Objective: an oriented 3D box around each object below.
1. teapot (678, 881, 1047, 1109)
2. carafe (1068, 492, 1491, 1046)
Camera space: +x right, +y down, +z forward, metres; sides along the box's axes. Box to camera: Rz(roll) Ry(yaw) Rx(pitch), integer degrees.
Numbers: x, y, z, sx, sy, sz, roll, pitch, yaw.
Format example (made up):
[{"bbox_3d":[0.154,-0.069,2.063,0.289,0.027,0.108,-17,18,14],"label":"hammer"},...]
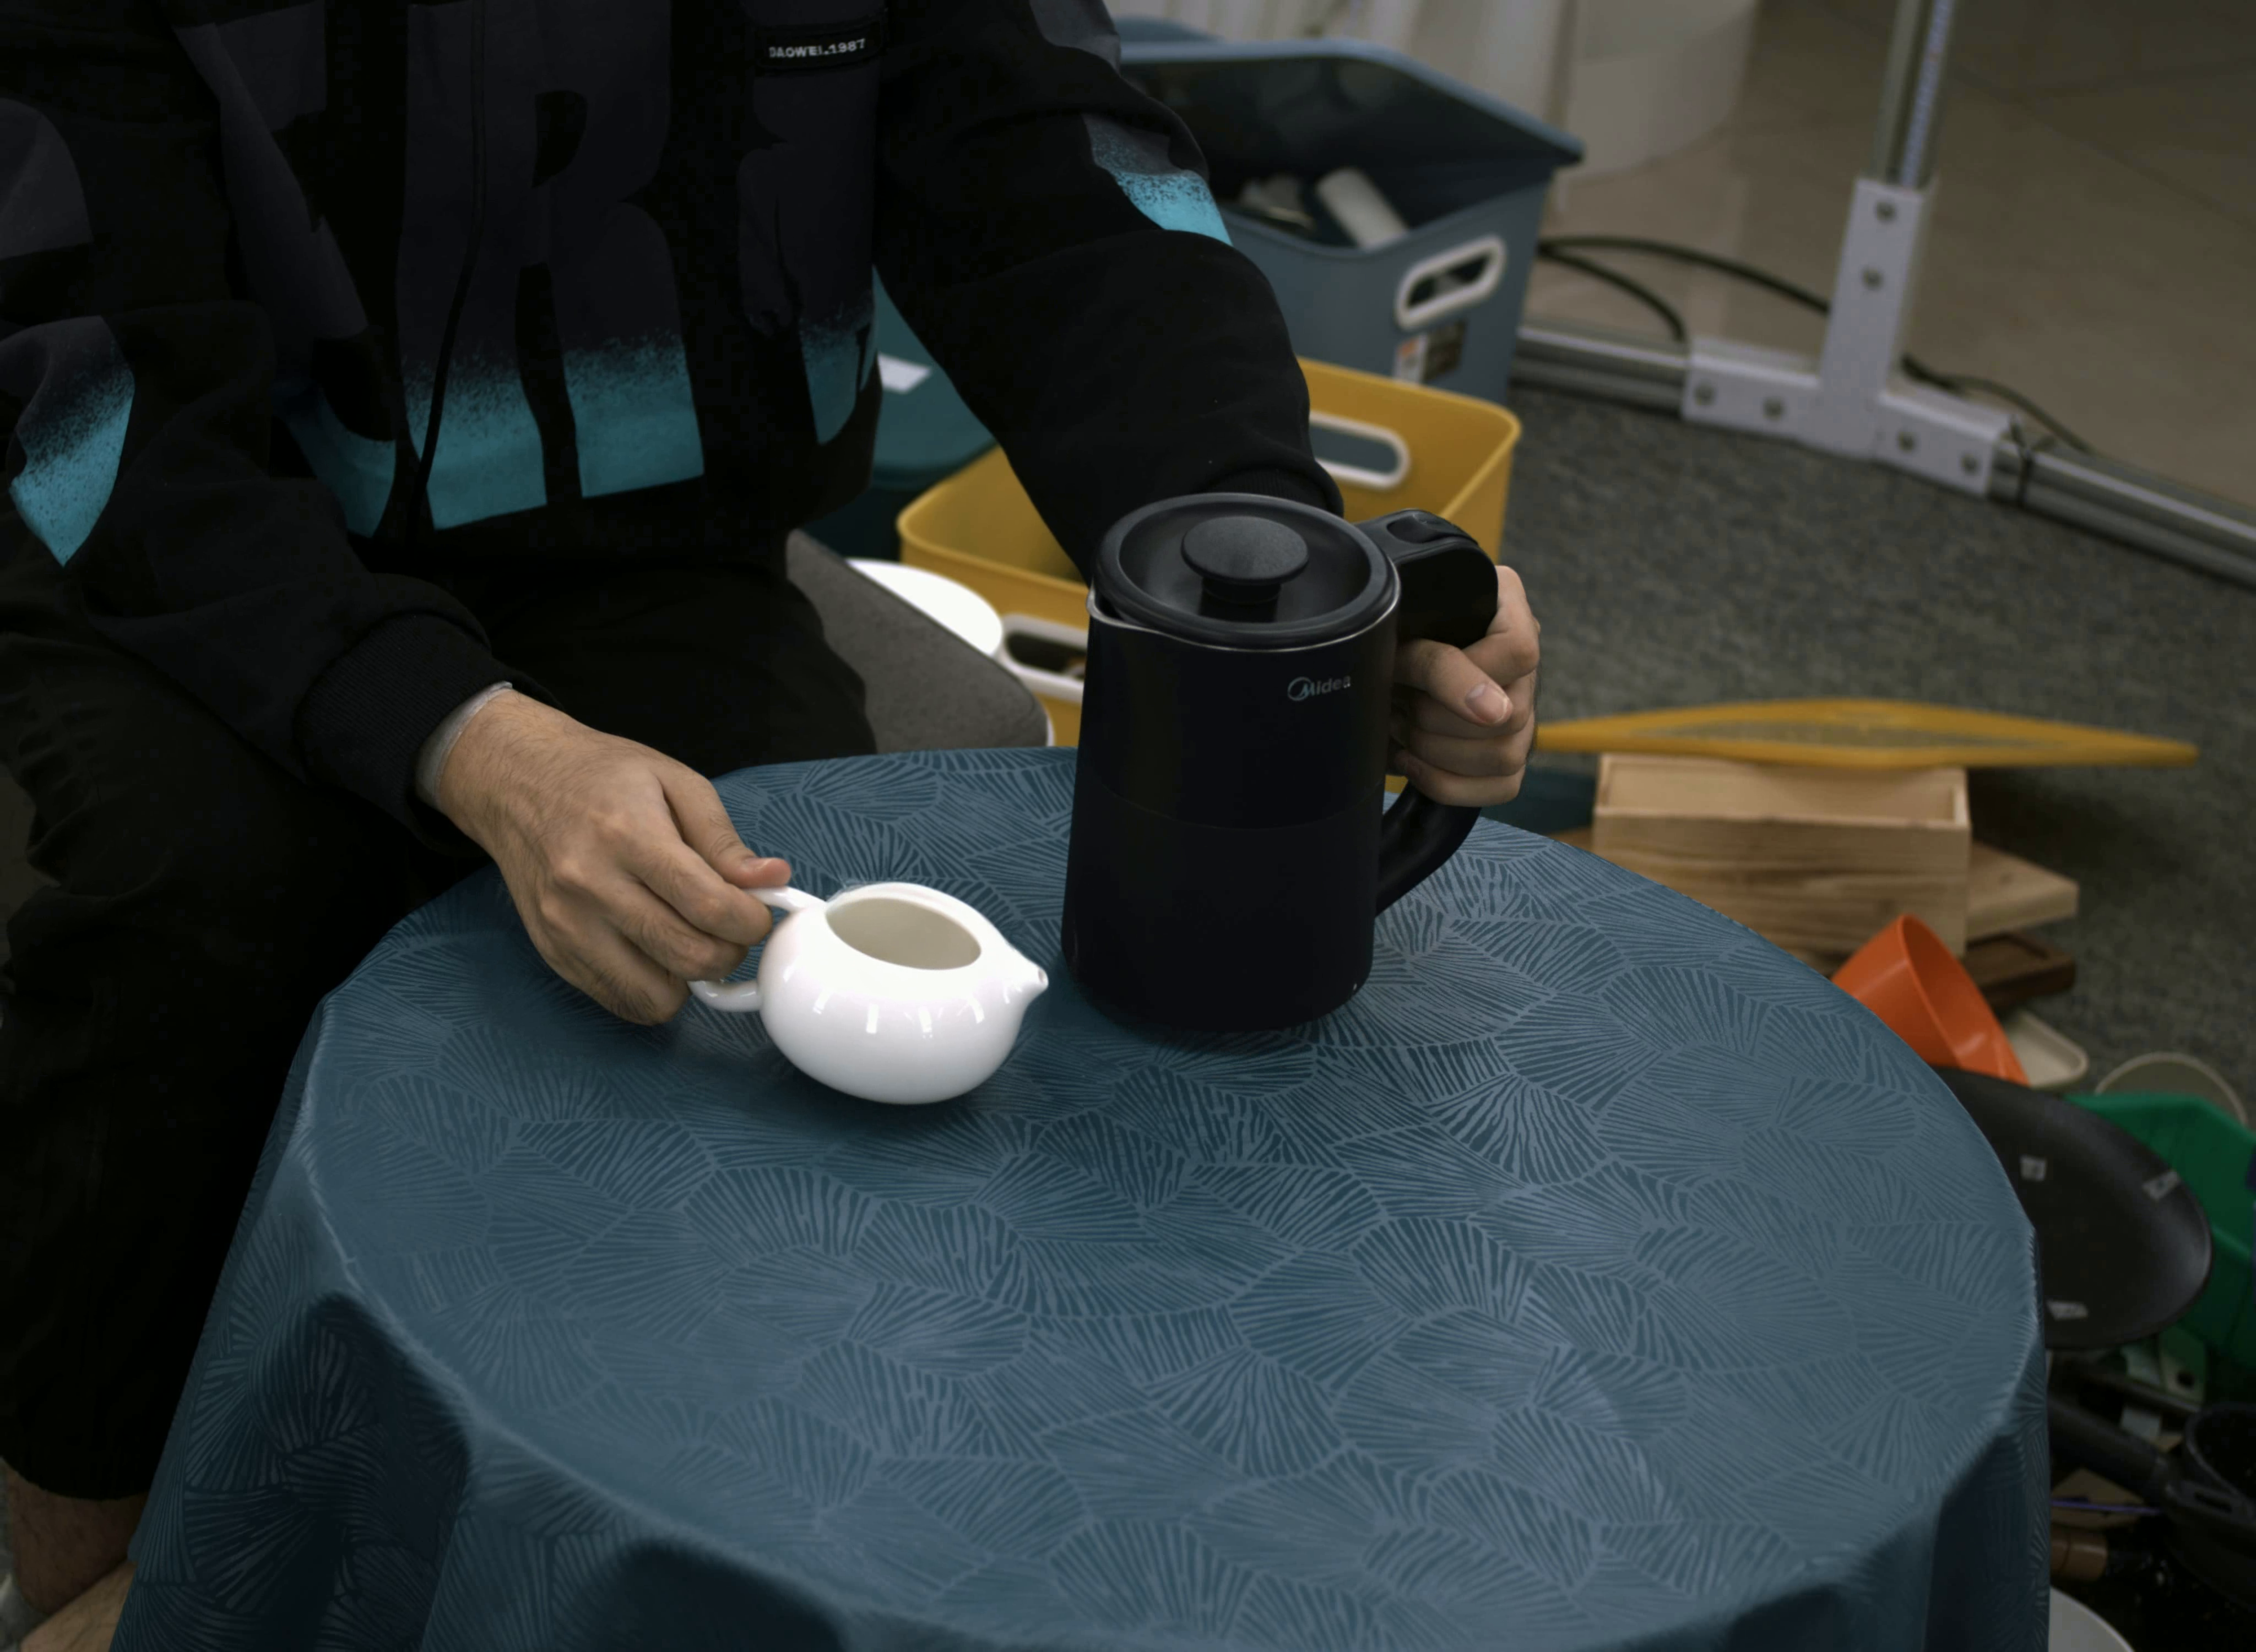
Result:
[{"bbox_3d":[-0.093,0.056,1.835,0.127,0.056,0.094,14,30,0],"label":"teapot"},{"bbox_3d":[0.055,-0.032,1.899,0.171,0.172,0.115,-18,35,-29],"label":"carafe"}]
